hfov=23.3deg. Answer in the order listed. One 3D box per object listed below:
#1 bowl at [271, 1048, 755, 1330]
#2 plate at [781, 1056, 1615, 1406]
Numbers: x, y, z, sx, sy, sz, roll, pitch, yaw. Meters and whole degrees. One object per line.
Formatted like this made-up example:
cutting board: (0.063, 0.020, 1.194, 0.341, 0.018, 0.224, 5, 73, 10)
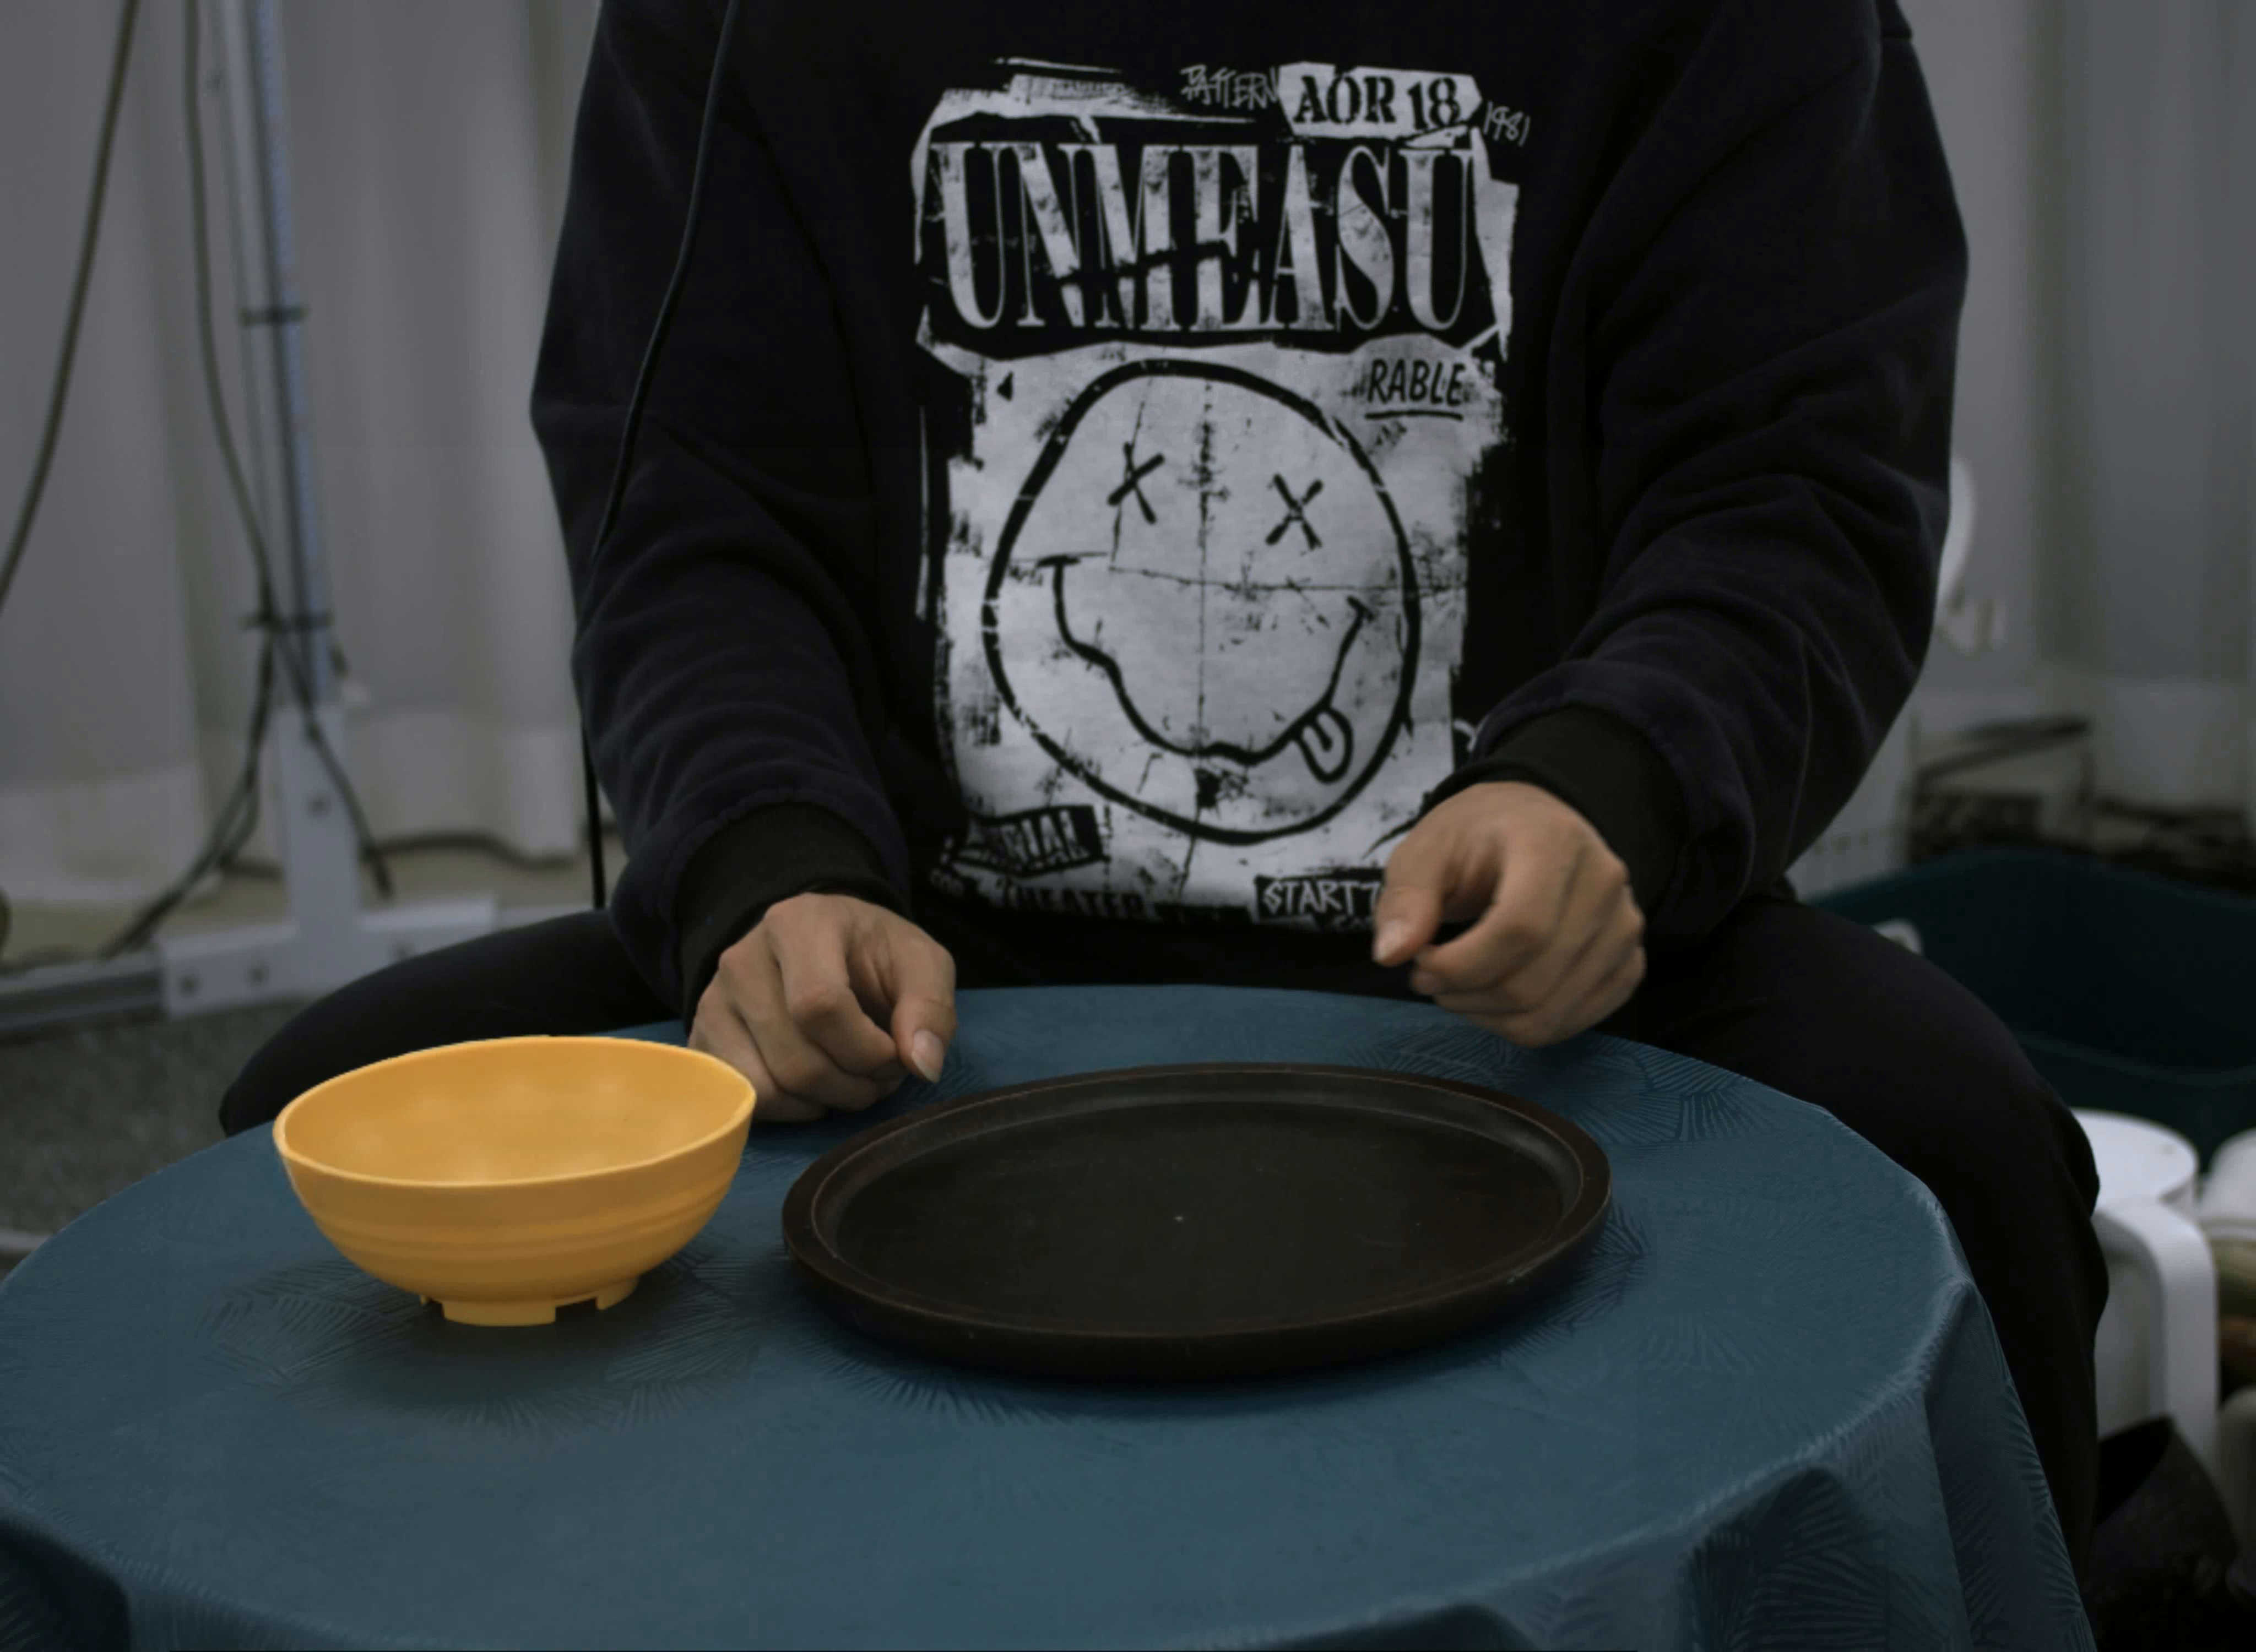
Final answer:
bowl: (-0.183, 0.114, 1.646, 0.145, 0.060, 0.146, -1, 13, 0)
plate: (0.021, 0.120, 1.652, 0.254, 0.029, 0.256, -5, 15, 1)
